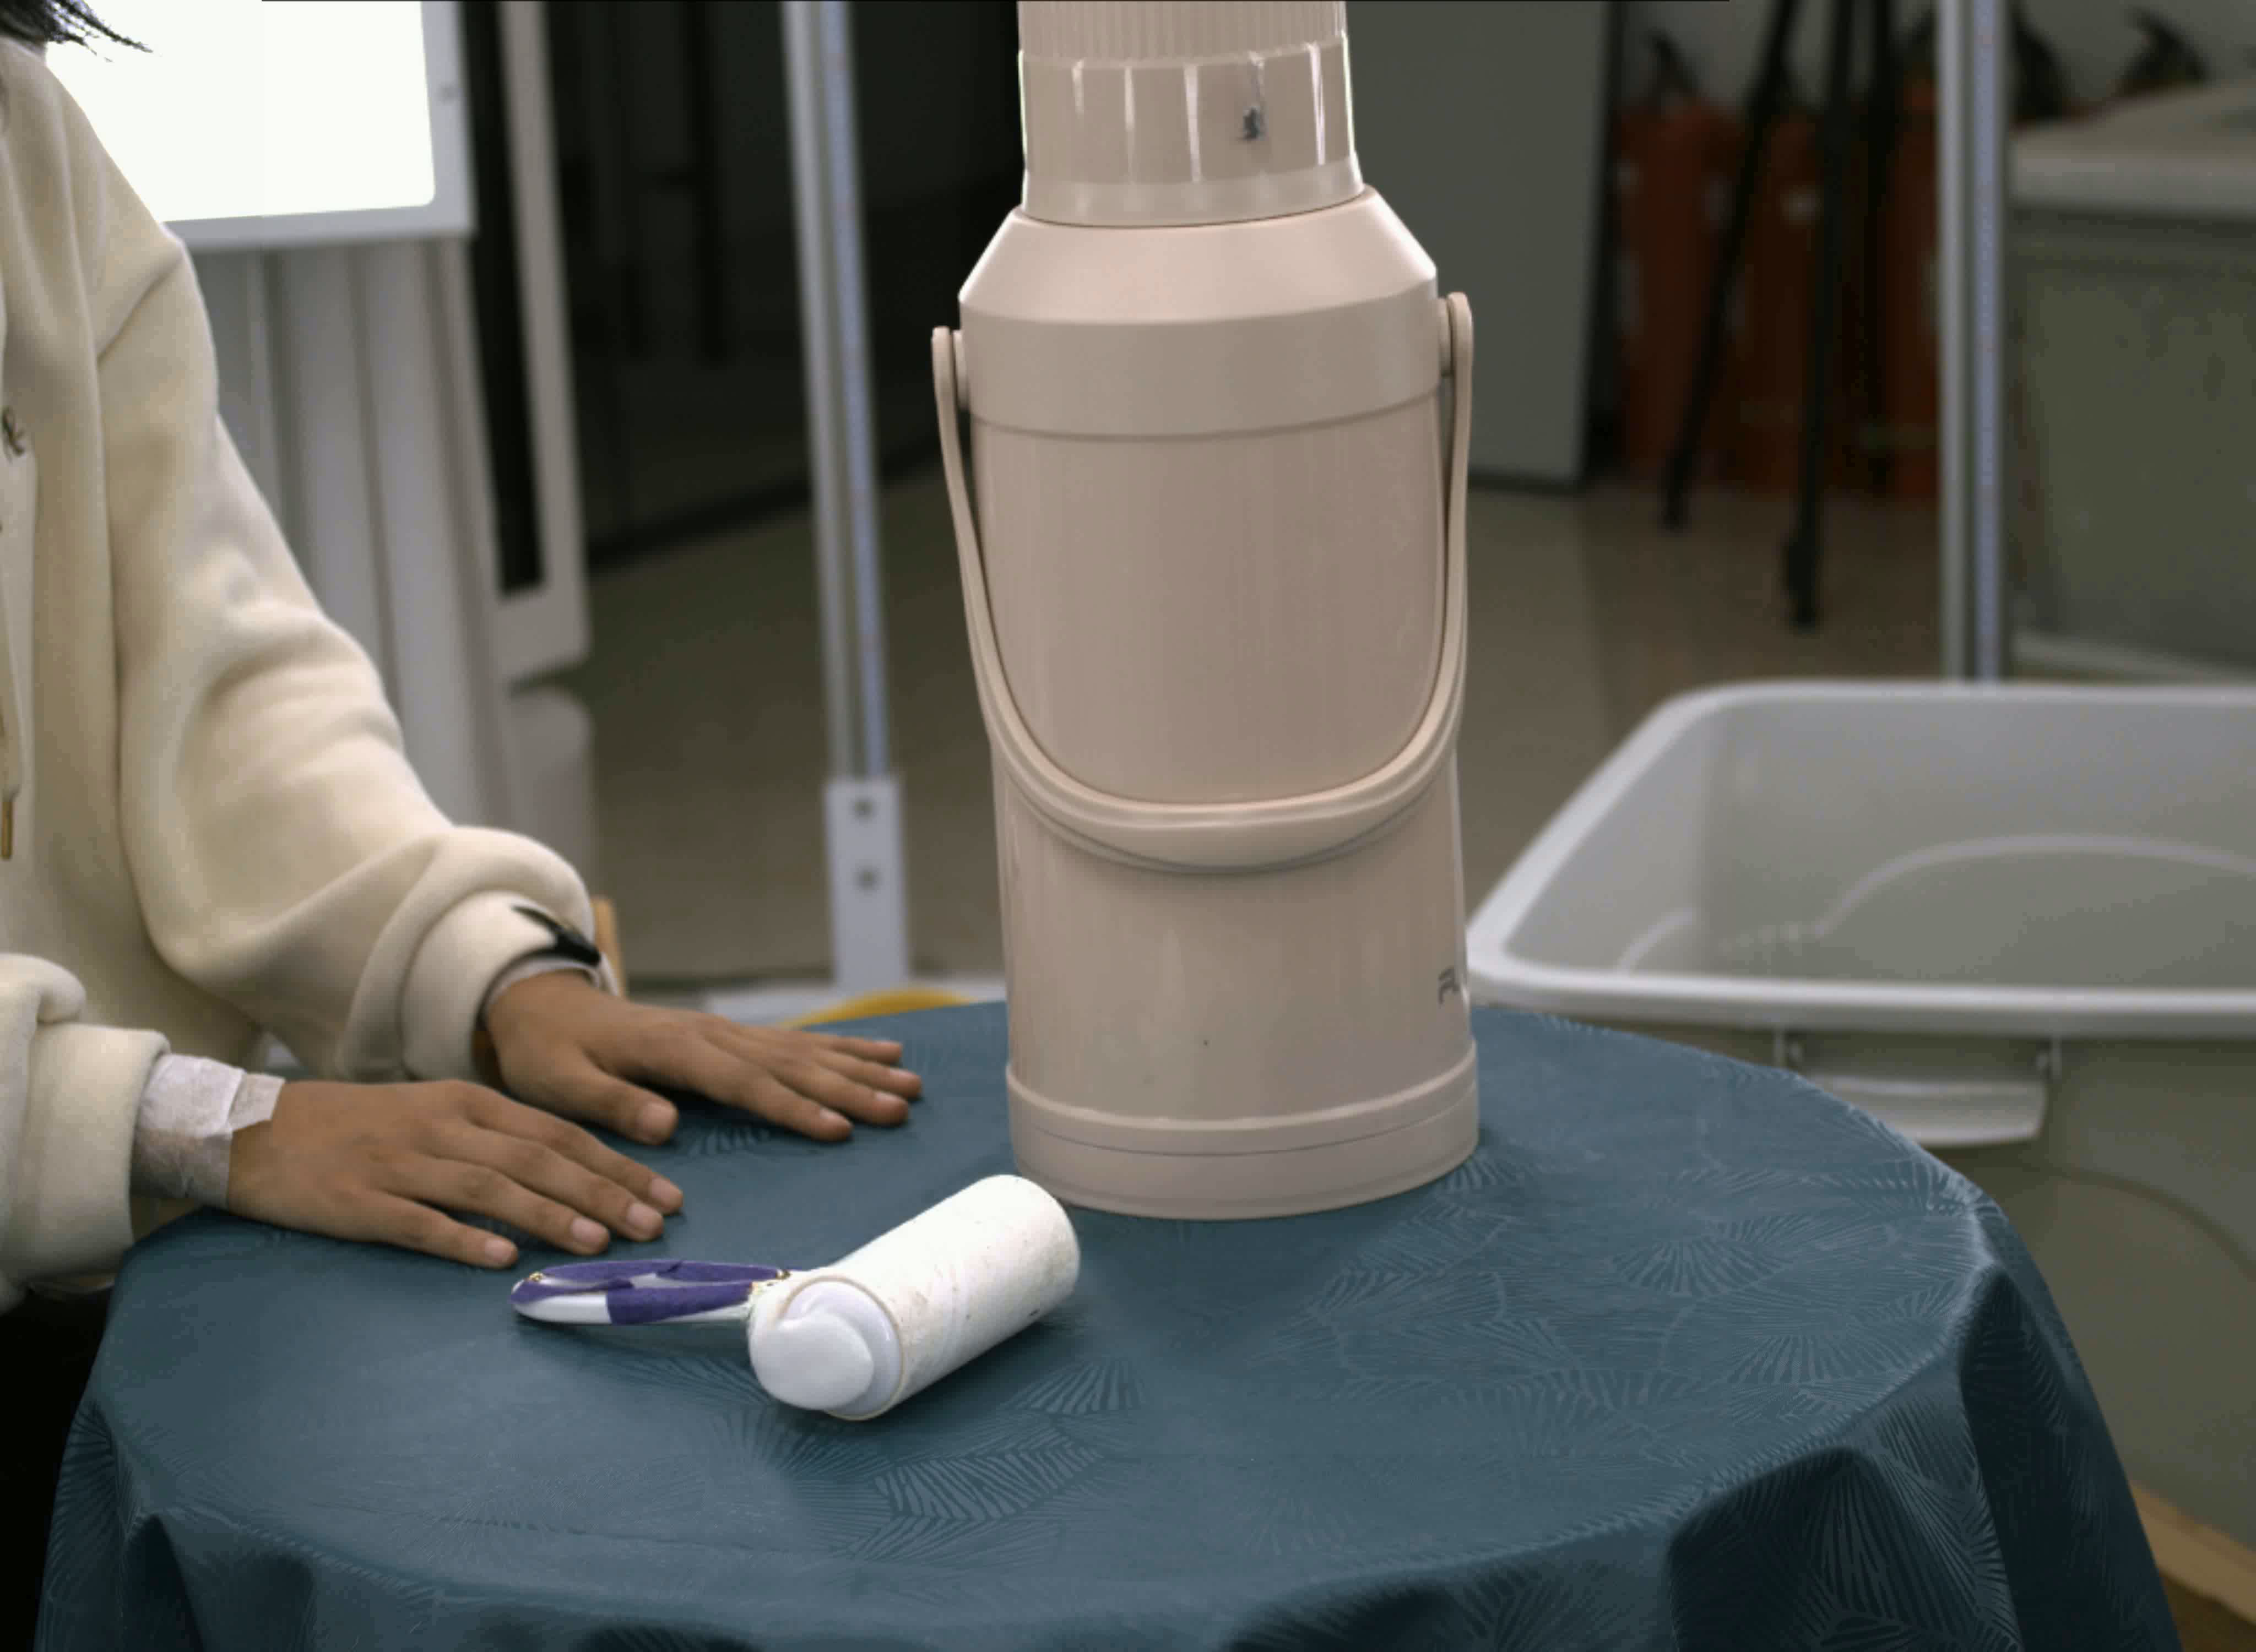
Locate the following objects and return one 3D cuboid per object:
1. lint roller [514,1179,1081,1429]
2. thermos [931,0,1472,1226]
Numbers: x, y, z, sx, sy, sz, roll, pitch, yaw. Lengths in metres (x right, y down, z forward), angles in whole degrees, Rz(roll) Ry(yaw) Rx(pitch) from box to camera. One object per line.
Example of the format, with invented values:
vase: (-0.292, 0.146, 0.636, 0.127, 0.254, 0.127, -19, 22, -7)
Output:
lint roller: (-0.113, 0.135, 1.647, 0.182, 0.051, 0.131, 8, 19, 33)
thermos: (0.028, -0.088, 1.775, 0.173, 0.411, 0.207, -4, 13, -1)
